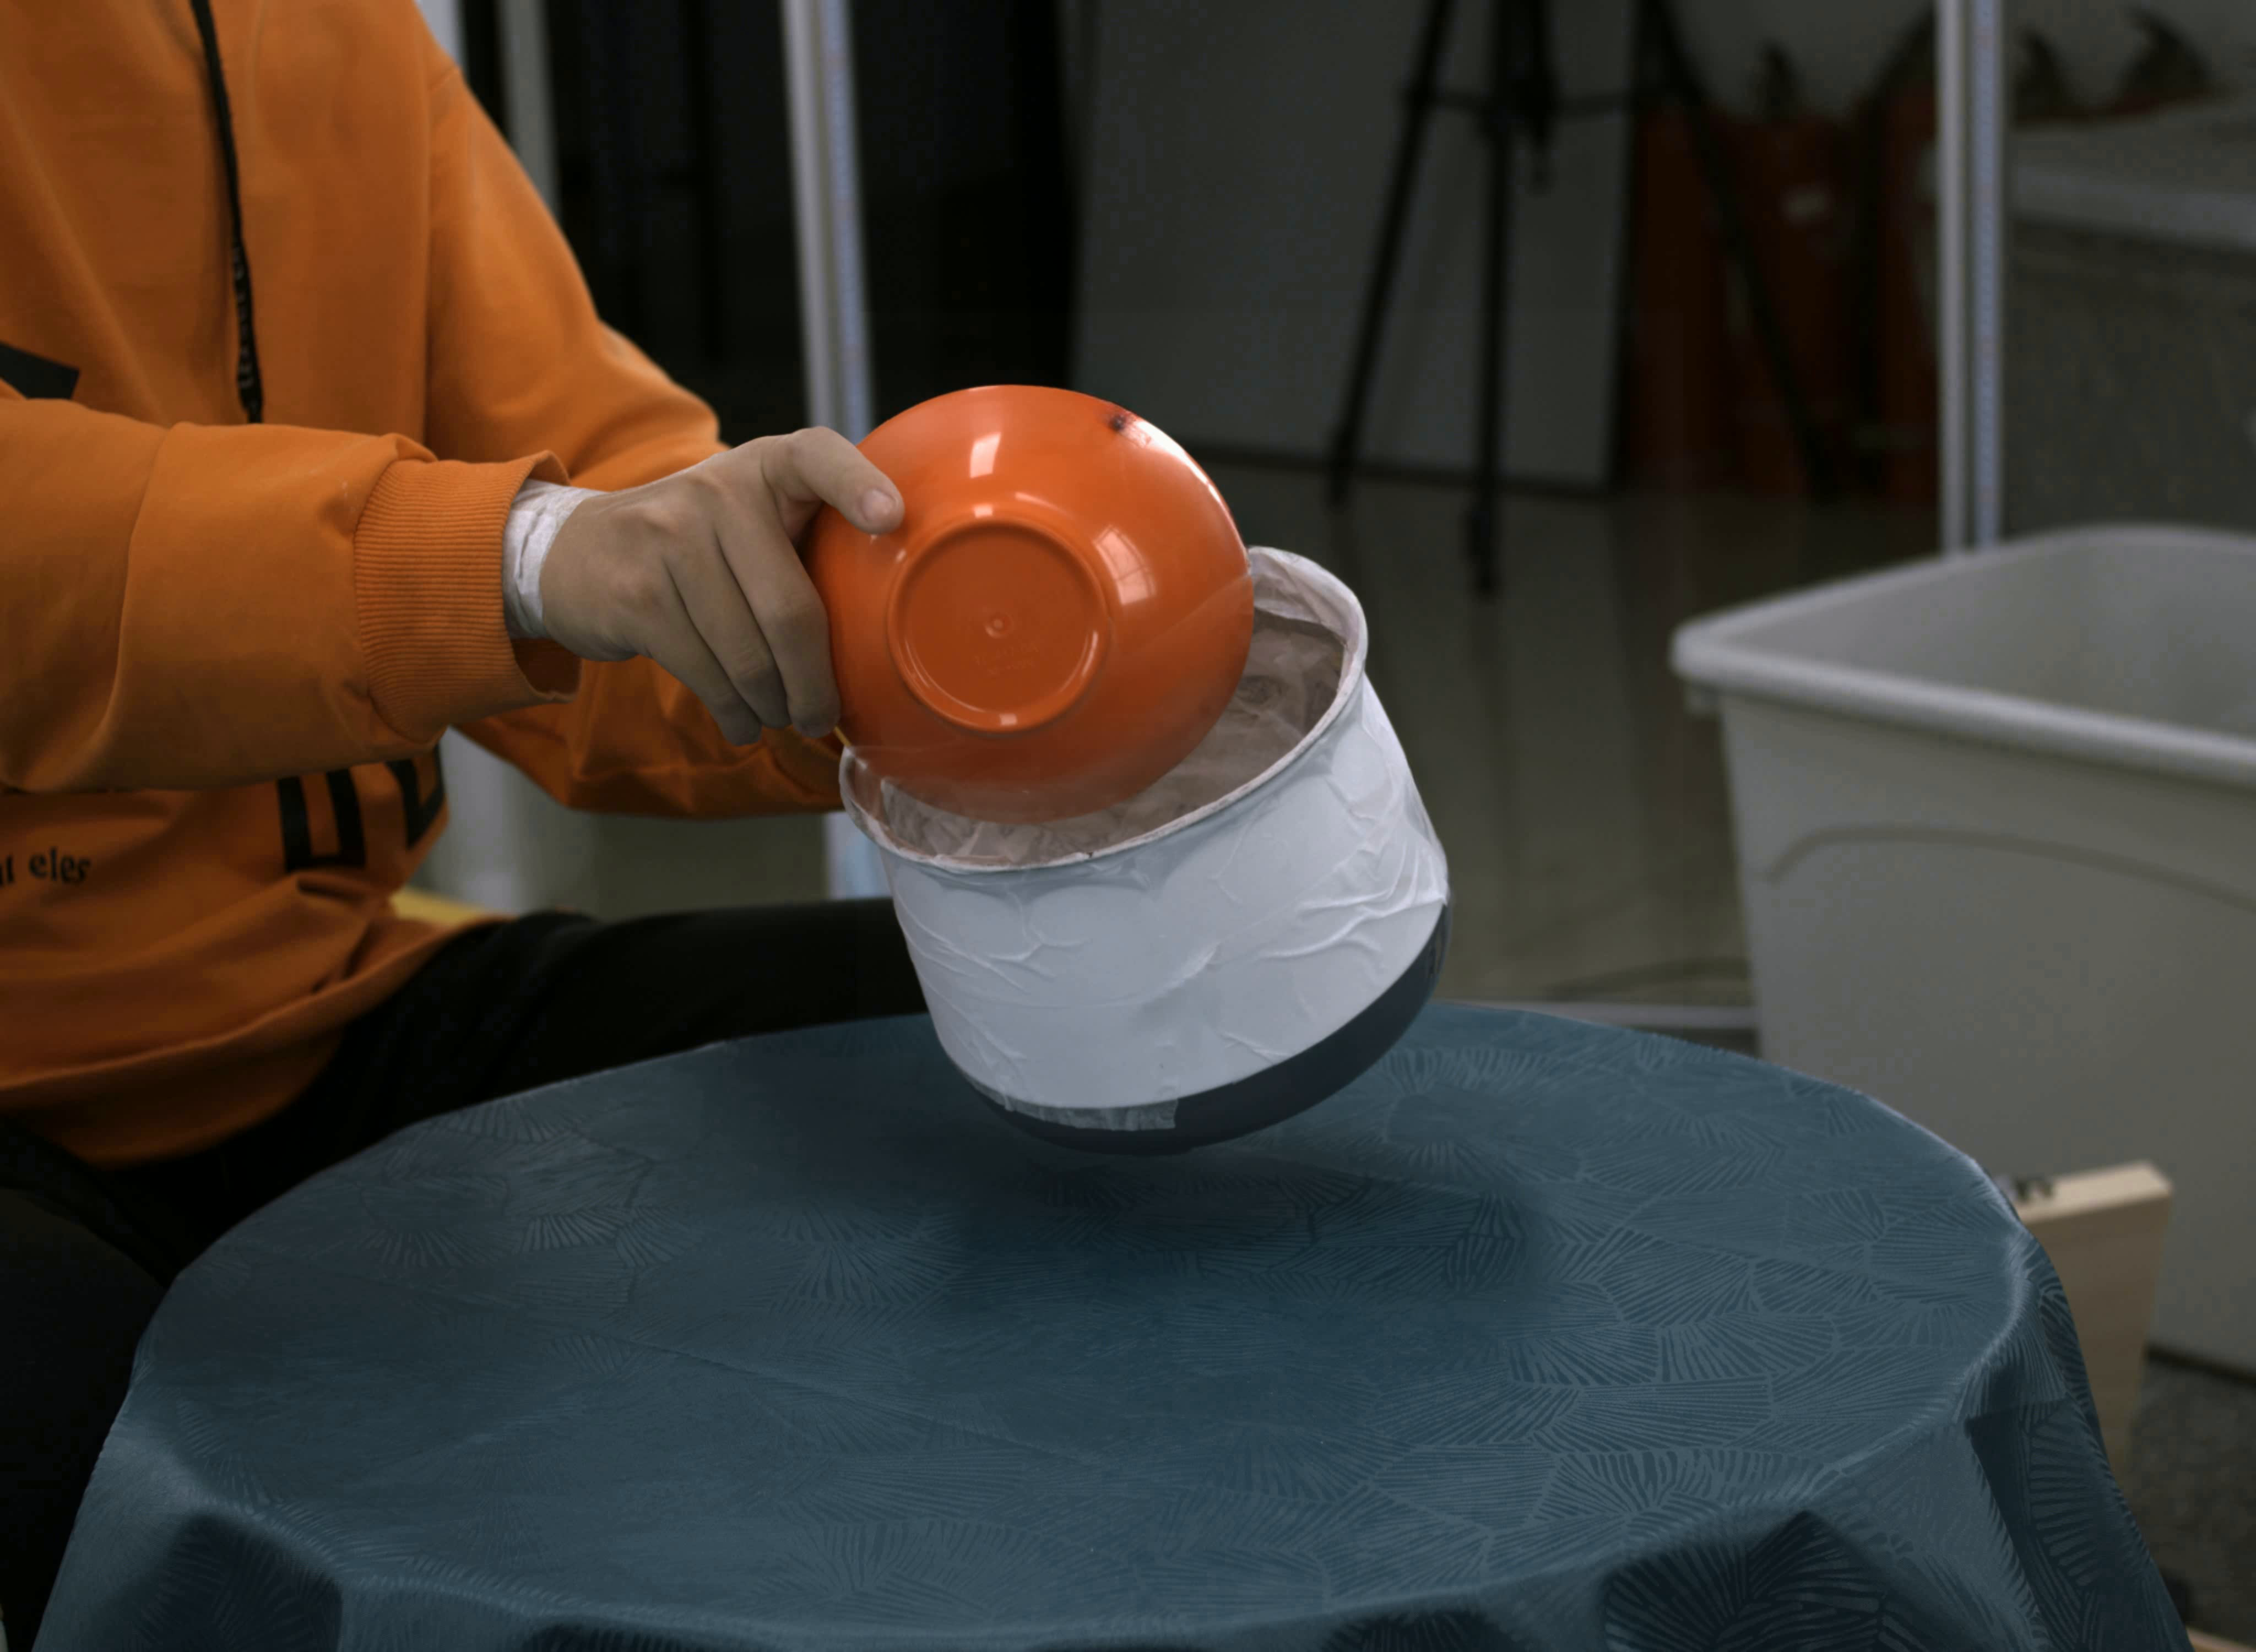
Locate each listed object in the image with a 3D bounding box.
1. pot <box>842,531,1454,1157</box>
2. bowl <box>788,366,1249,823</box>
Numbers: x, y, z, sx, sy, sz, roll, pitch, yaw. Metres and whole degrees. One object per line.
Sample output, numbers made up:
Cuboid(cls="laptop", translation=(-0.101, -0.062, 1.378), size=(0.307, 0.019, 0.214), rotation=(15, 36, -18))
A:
Cuboid(cls="pot", translation=(-0.003, -0.001, 1.761), size=(0.176, 0.137, 0.236), rotation=(-30, 32, -16))
Cuboid(cls="bowl", translation=(-0.035, -0.064, 1.663), size=(0.146, 0.150, 0.104), rotation=(-3, 11, 3))
